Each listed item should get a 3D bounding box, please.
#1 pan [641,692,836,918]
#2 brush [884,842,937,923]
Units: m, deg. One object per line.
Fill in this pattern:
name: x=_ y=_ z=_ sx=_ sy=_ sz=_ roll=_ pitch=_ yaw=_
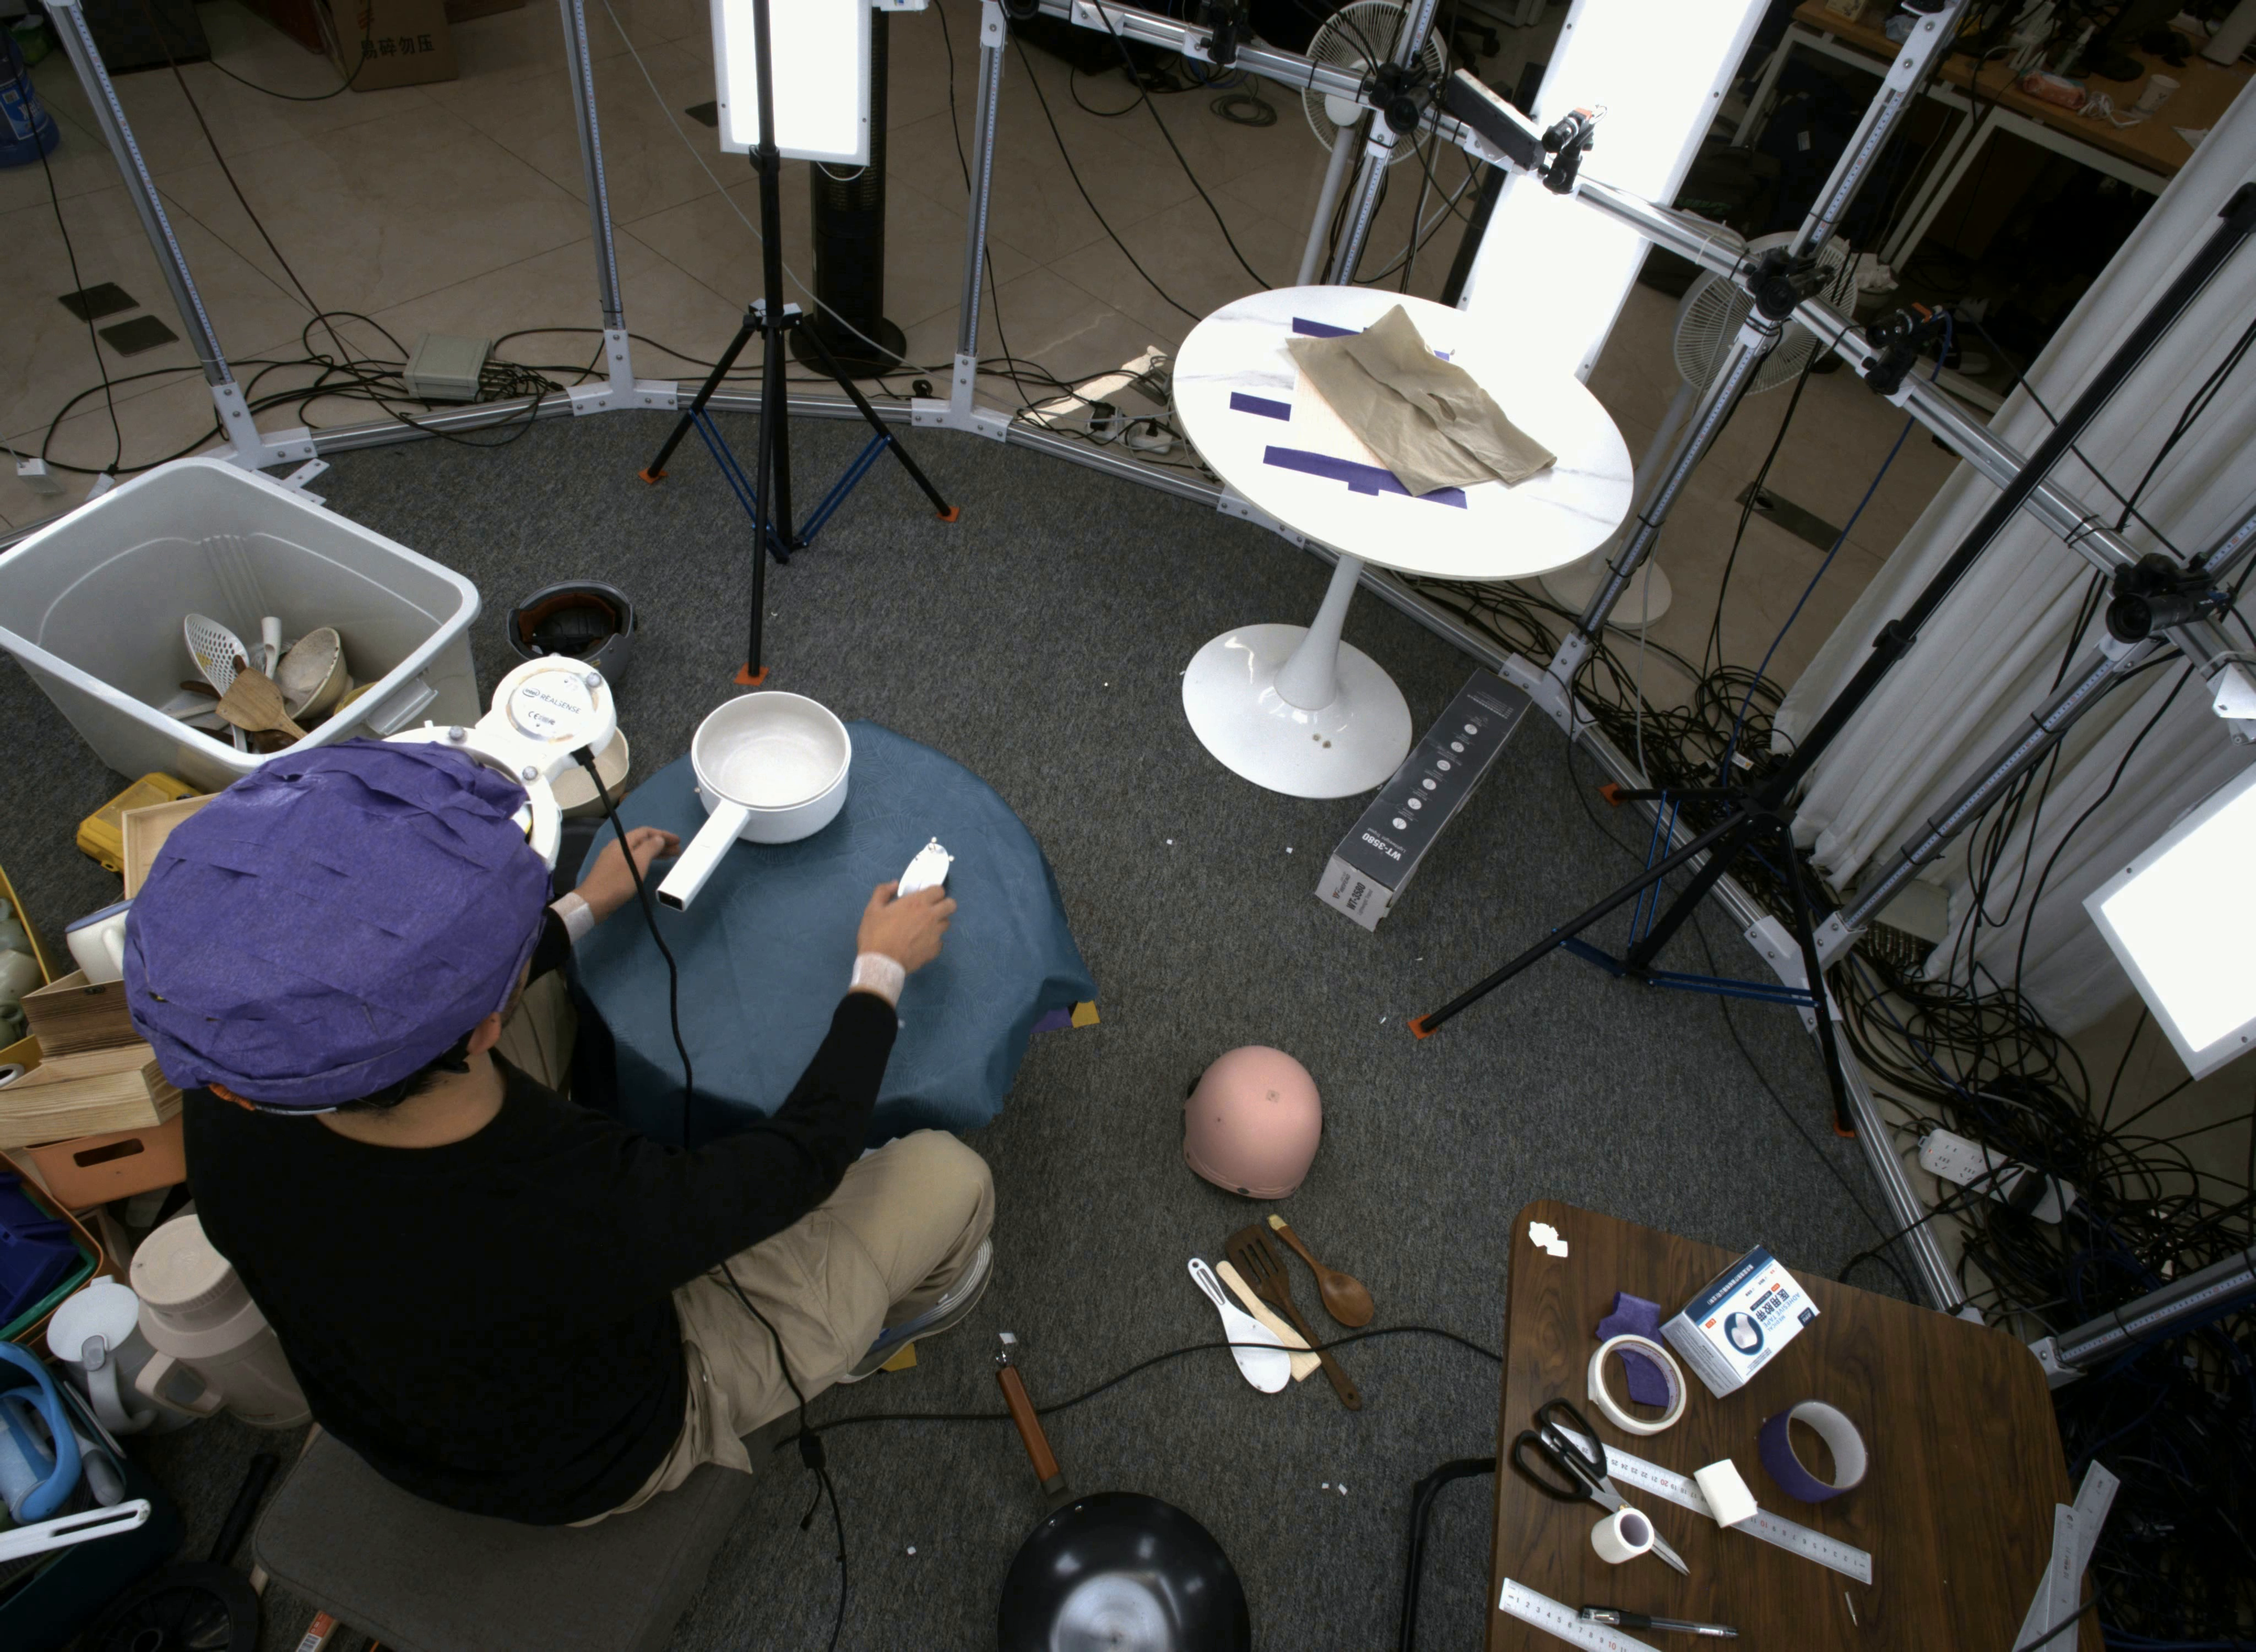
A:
pan: x=-0.508 y=-0.013 z=1.646 sx=0.199 sy=0.104 sz=0.351 roll=22 pitch=52 yaw=0
brush: x=-0.277 y=0.063 z=1.663 sx=0.049 sy=0.074 sz=0.098 roll=20 pitch=51 yaw=4
